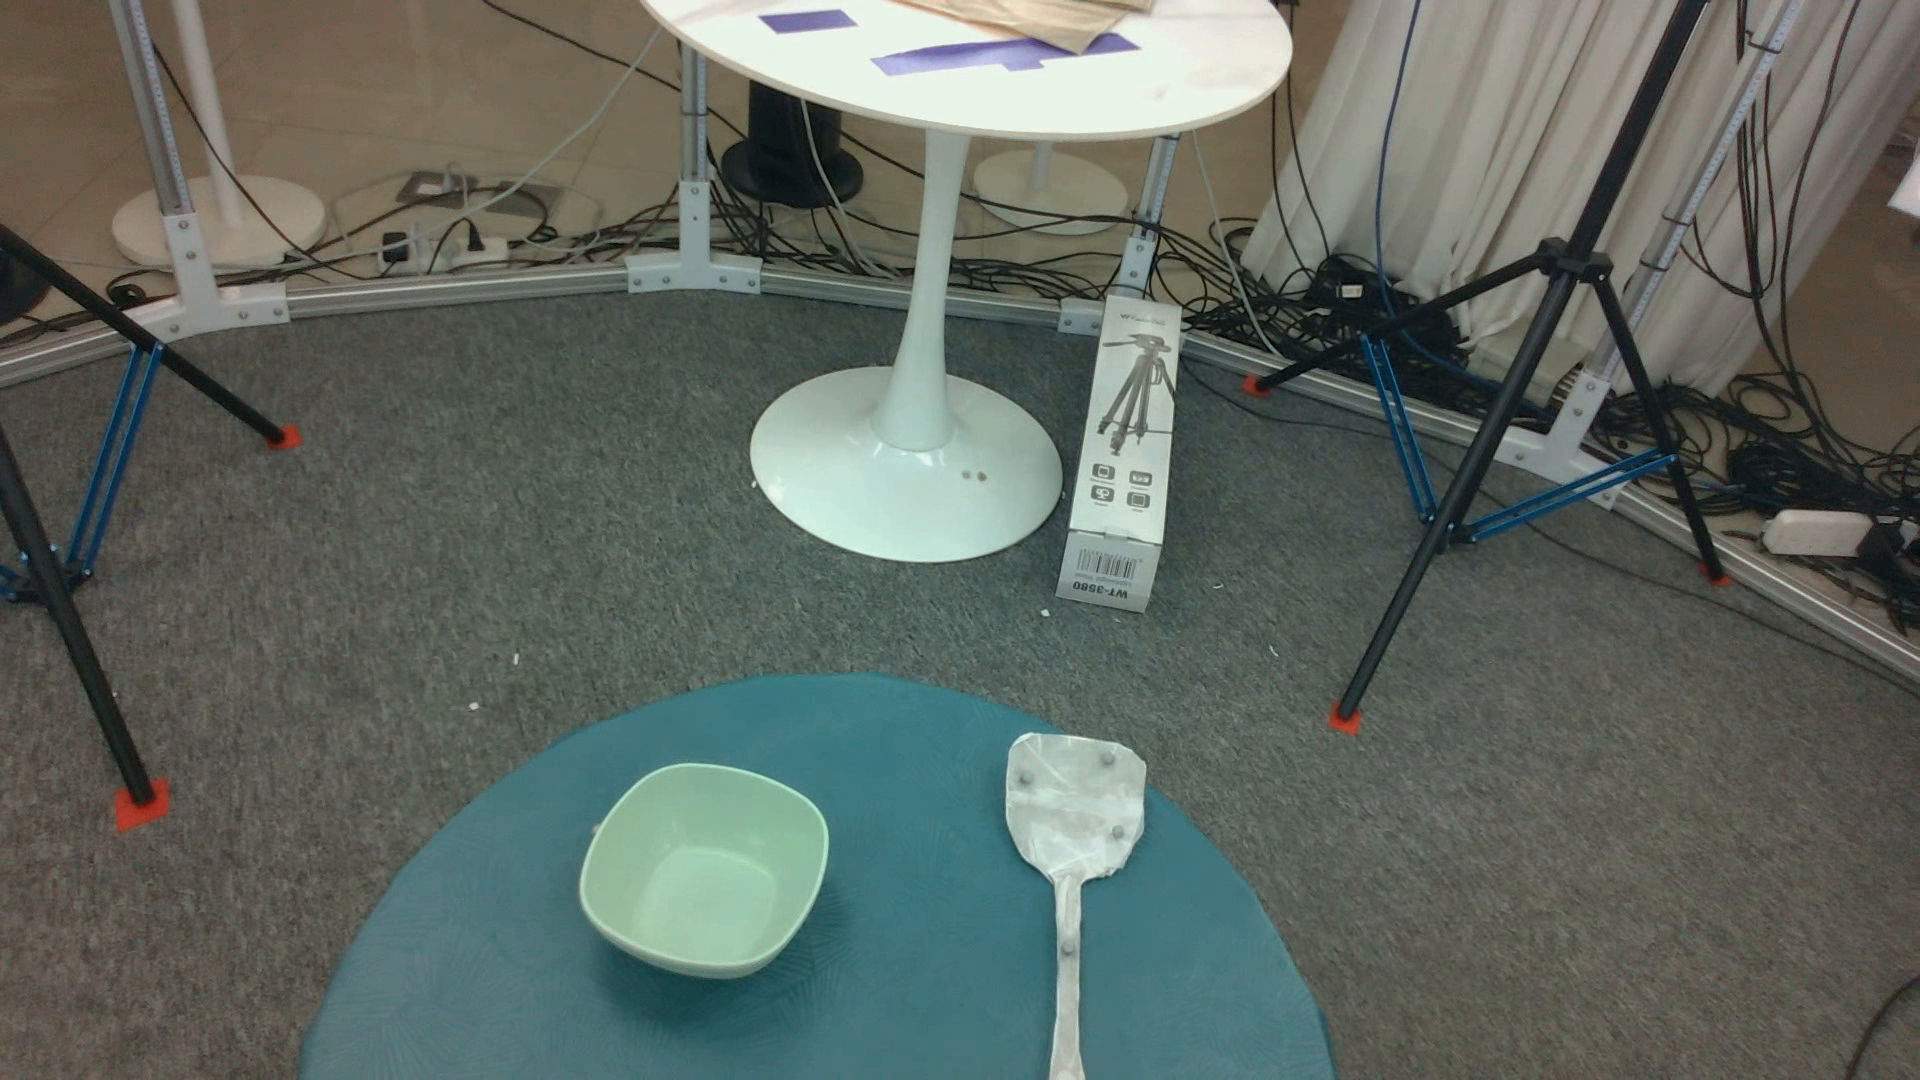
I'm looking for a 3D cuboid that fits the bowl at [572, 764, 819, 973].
[{"bbox_3d":[-0.160,0.210,0.844,0.151,0.058,0.152,5,39,-4],"label":"bowl"}]

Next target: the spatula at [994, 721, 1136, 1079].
[{"bbox_3d":[0.058,0.262,0.843,0.099,0.044,0.366,11,40,-2],"label":"spatula"}]
